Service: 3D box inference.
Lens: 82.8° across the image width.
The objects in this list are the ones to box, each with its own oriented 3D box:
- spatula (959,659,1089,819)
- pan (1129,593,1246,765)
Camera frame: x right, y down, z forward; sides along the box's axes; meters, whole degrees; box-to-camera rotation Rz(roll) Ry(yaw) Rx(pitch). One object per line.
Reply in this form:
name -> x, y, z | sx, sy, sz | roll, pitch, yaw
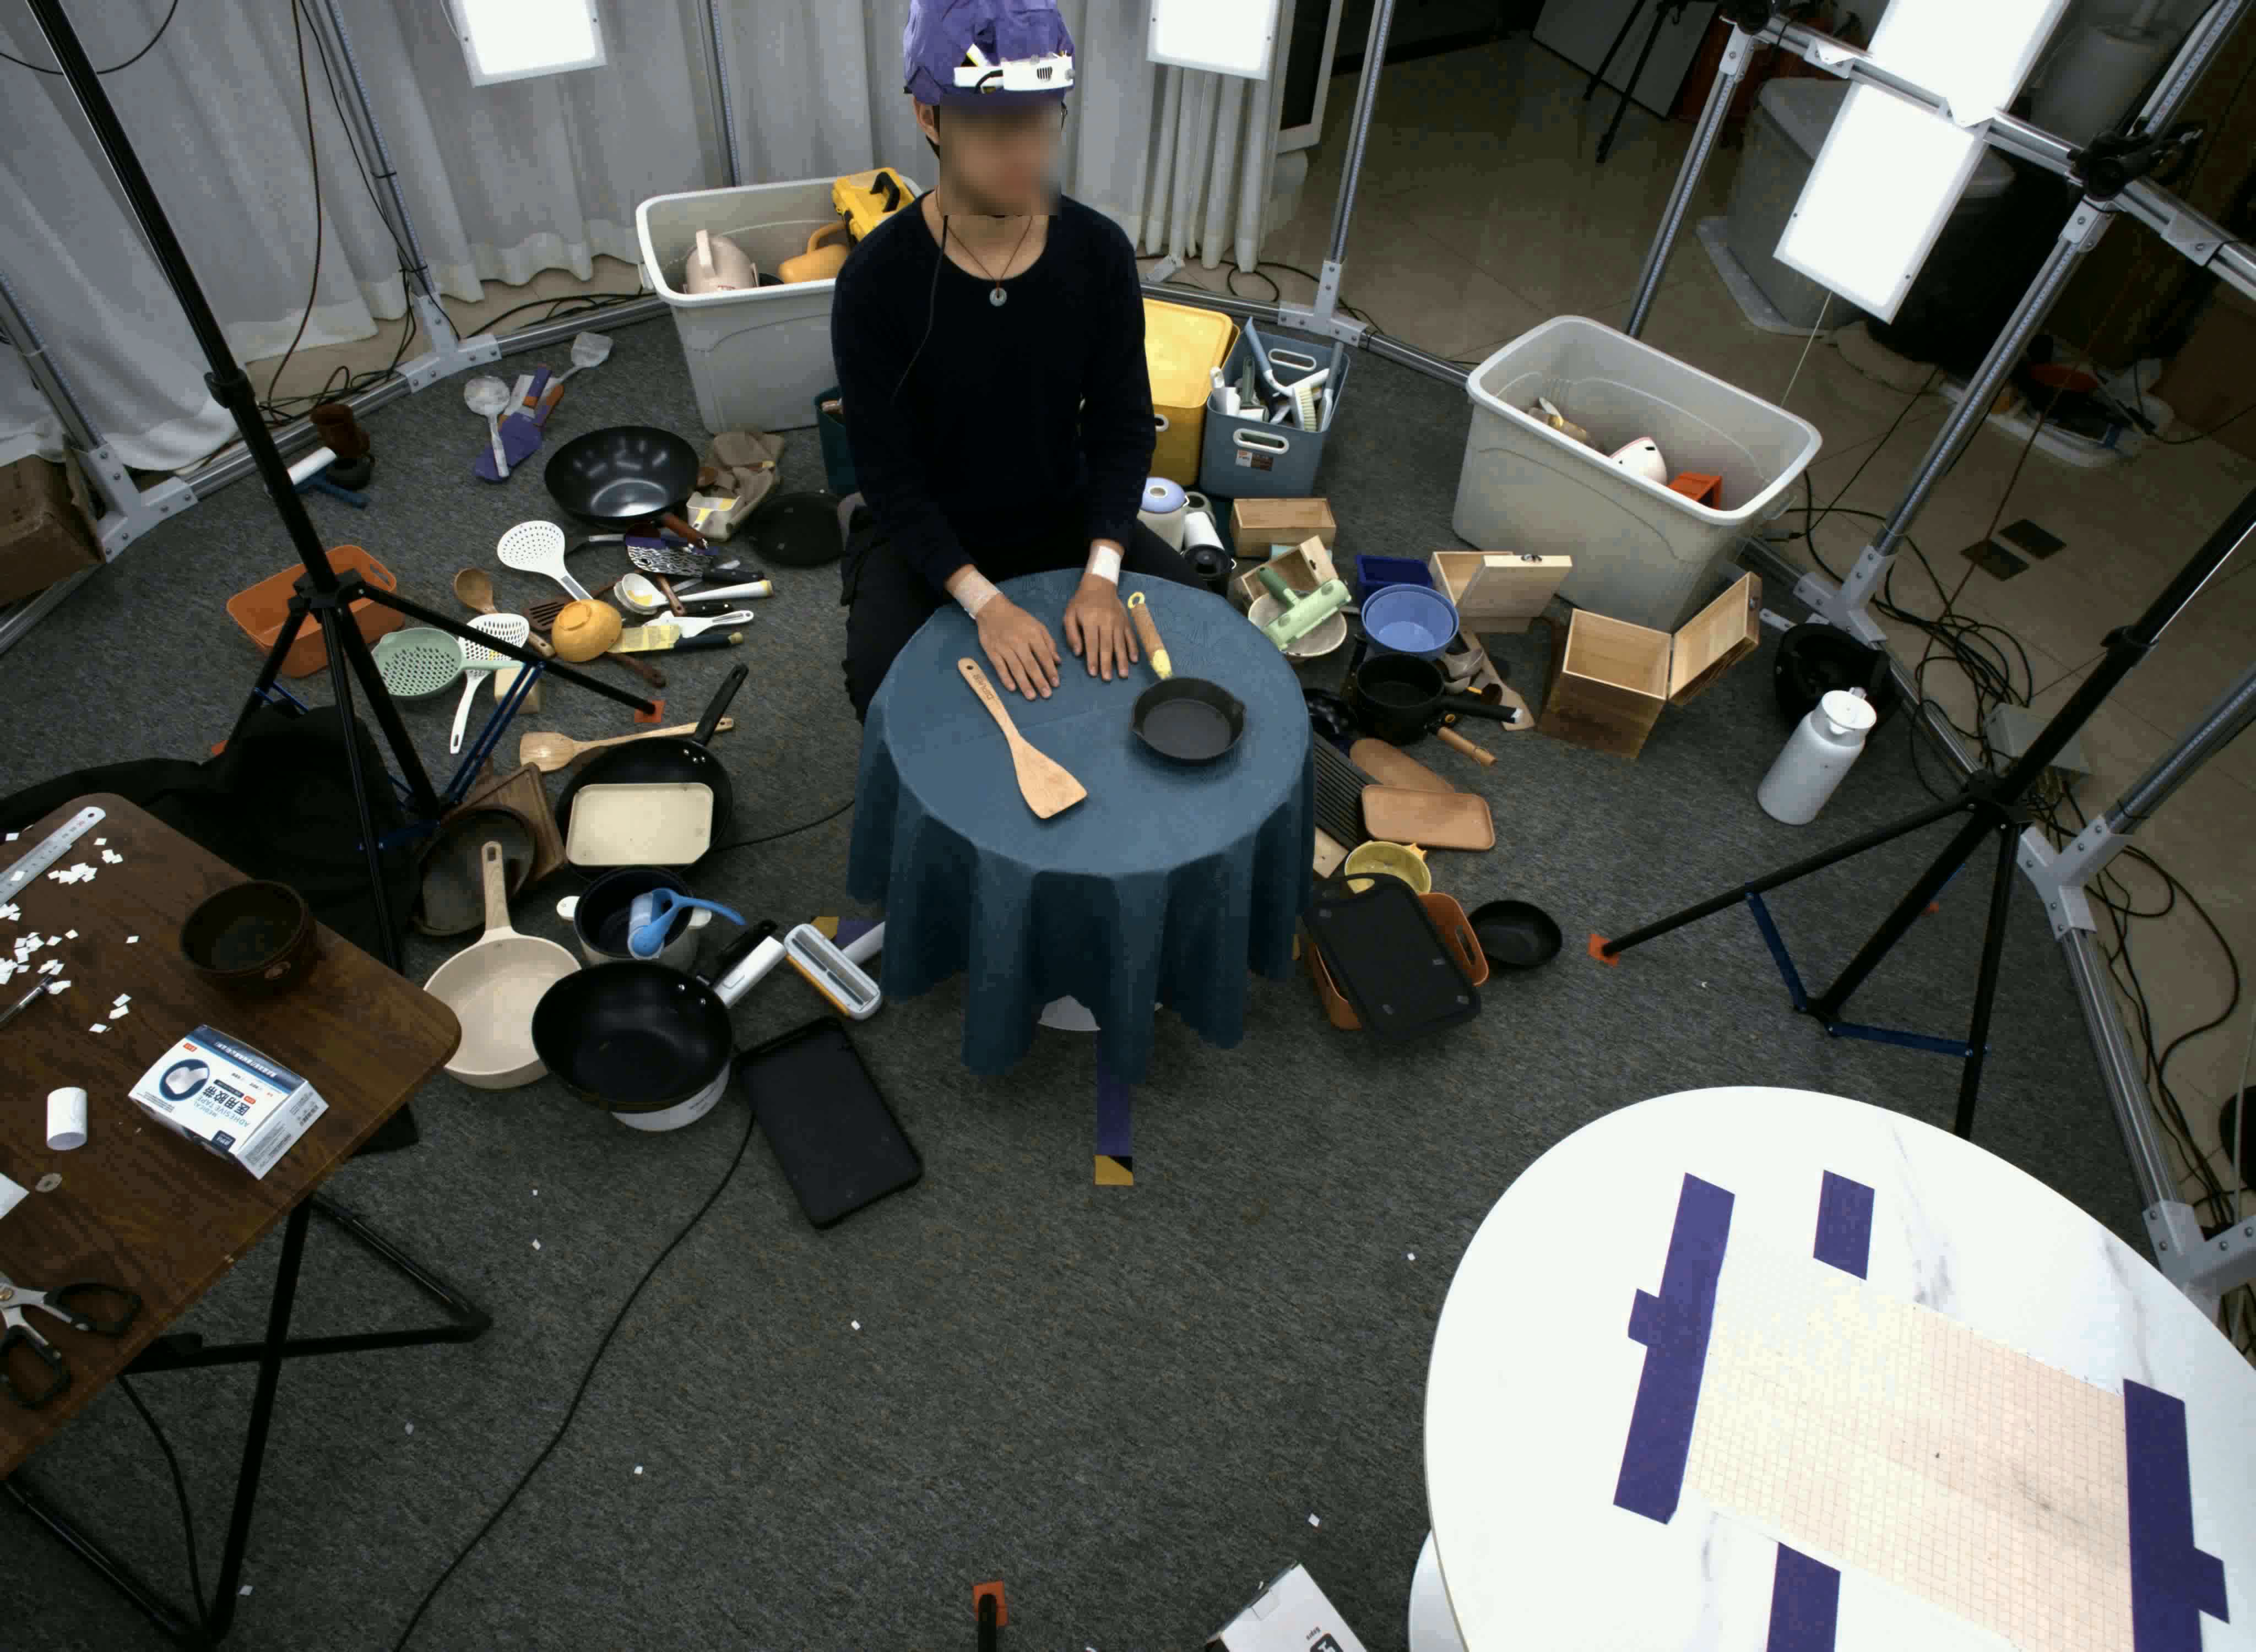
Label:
spatula -> -0.156, -0.129, 1.759 | 0.080, 0.016, 0.335 | -20, 53, -21
pan -> 0.059, -0.210, 1.823 | 0.169, 0.048, 0.332 | -11, 52, -13
